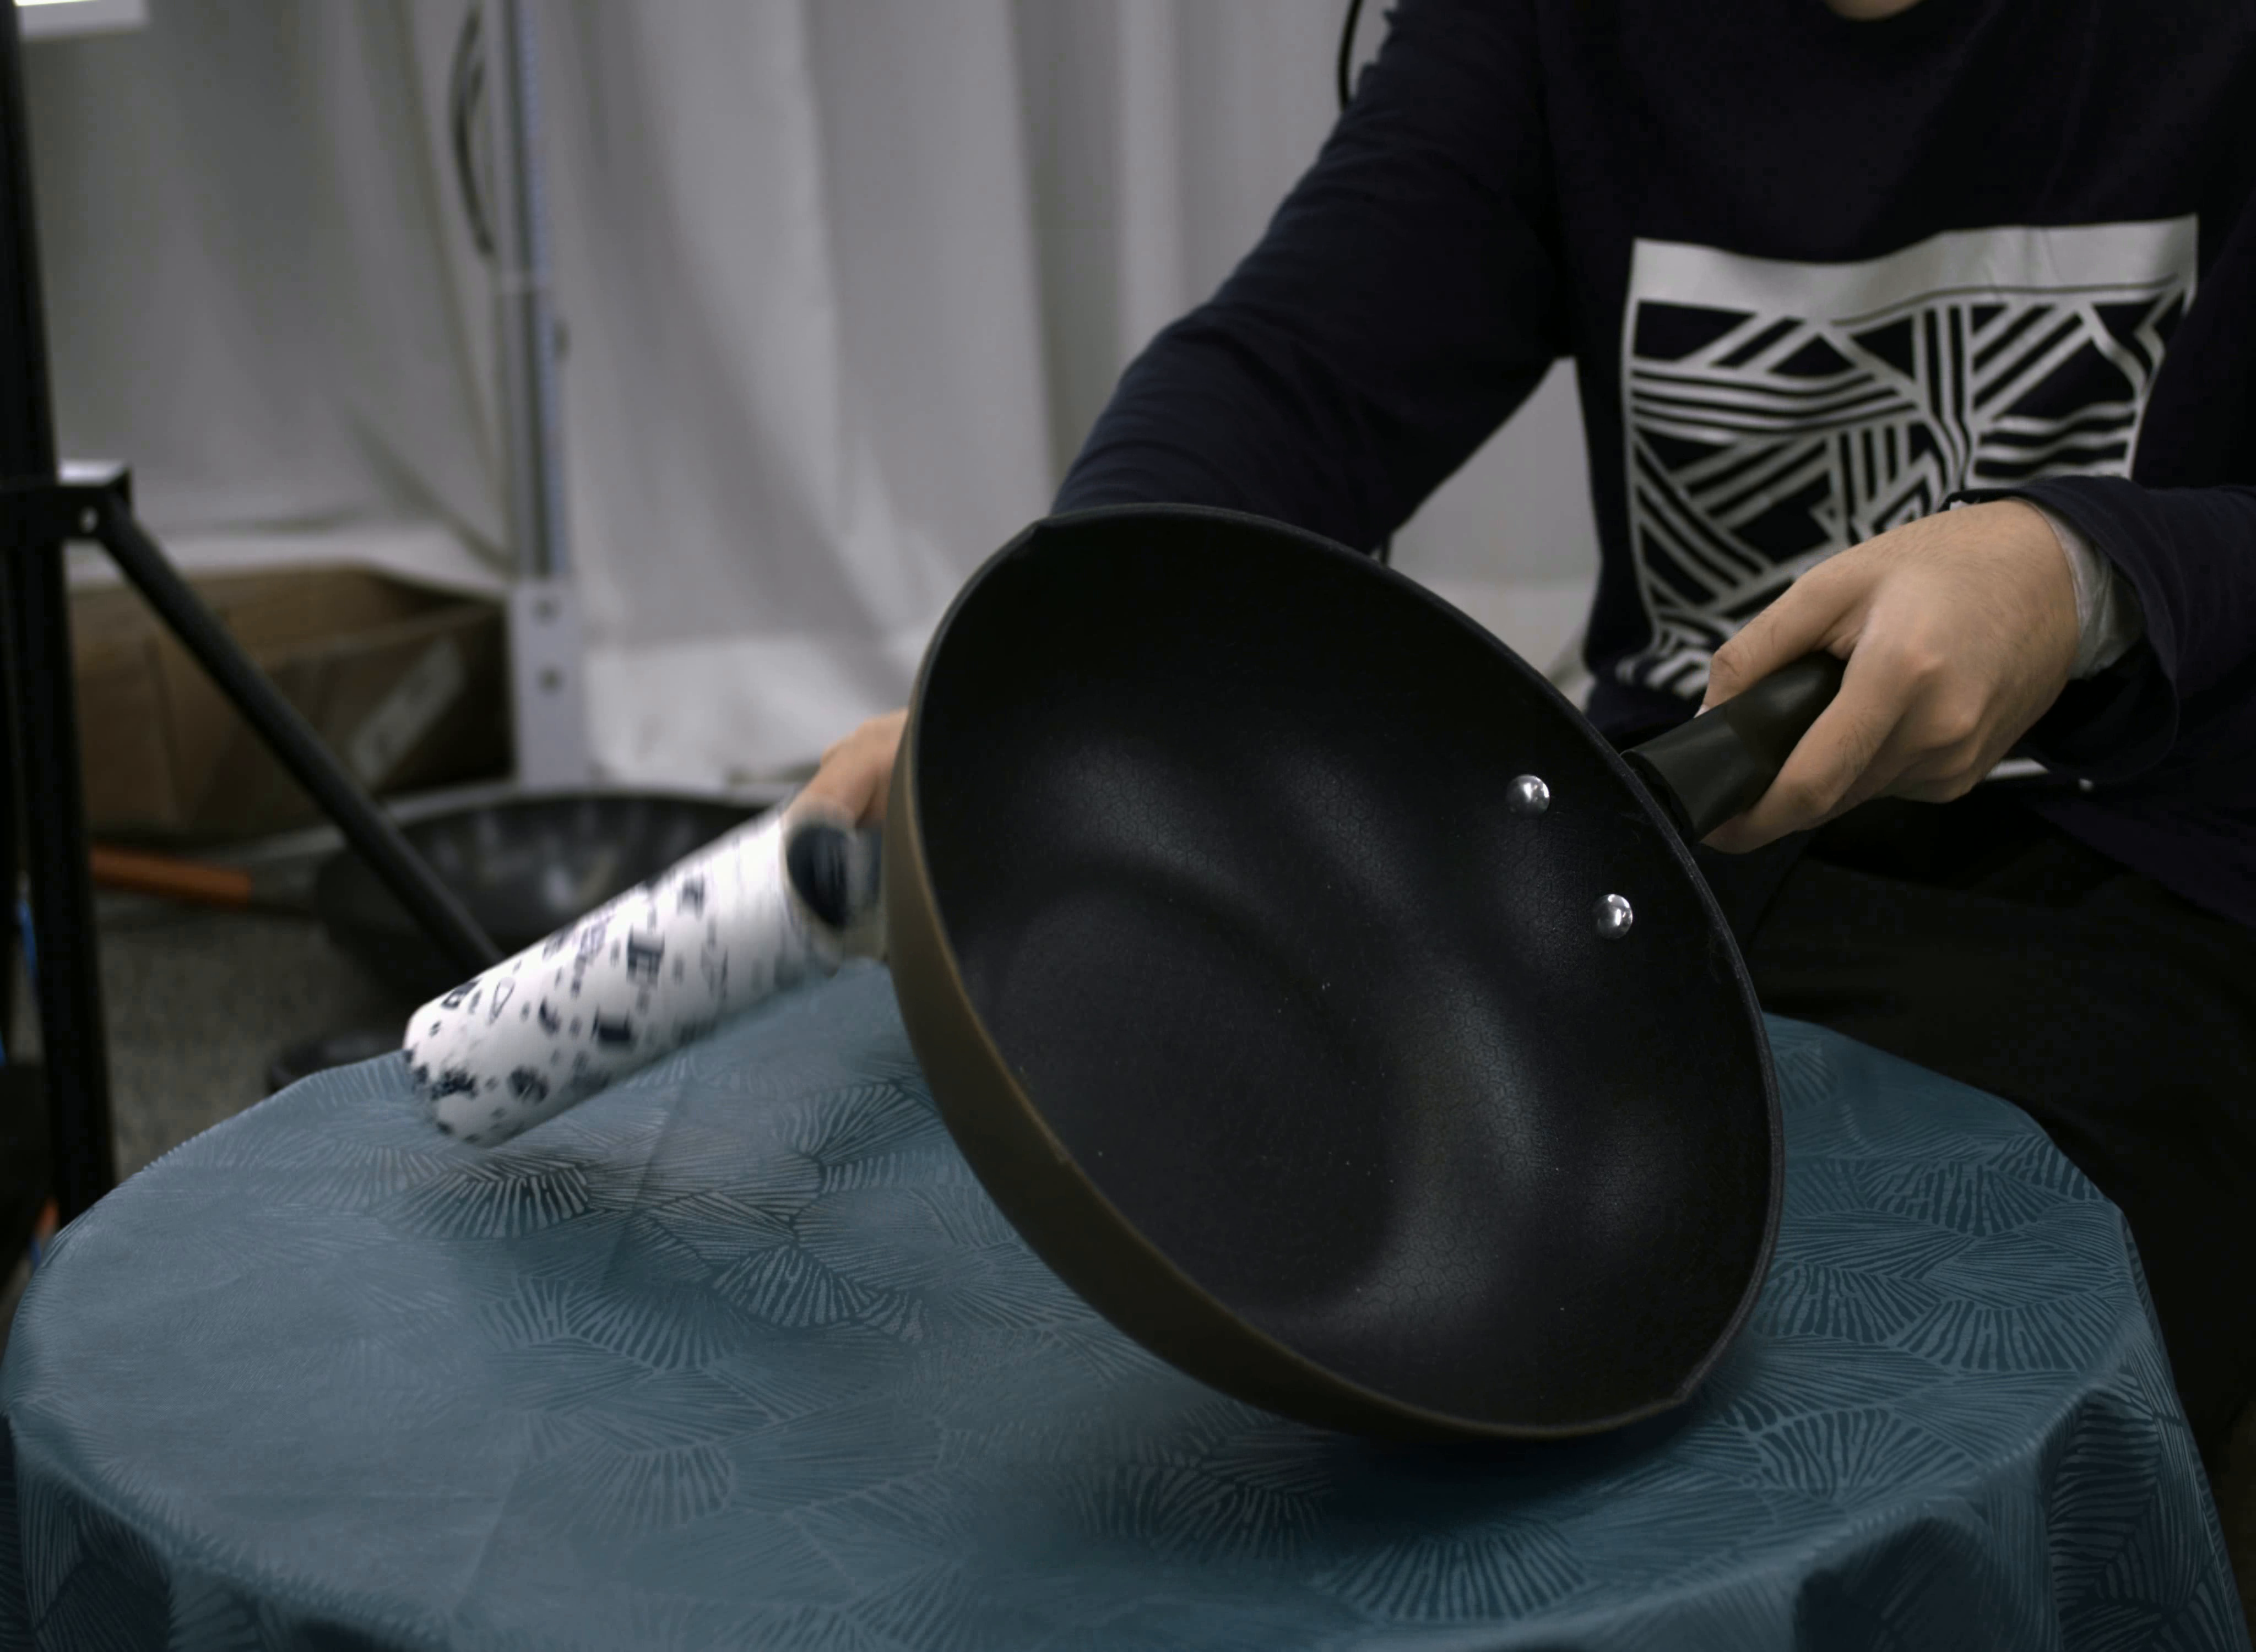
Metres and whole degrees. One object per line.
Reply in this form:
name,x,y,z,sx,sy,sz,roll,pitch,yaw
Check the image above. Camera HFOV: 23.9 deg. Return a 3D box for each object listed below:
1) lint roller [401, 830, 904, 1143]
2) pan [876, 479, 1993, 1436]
lint roller,-0.091,0.028,1.637,0.179,0.050,0.242,-22,0,34
pan,0.094,0.023,1.466,0.454,0.291,0.088,-23,-16,-48
